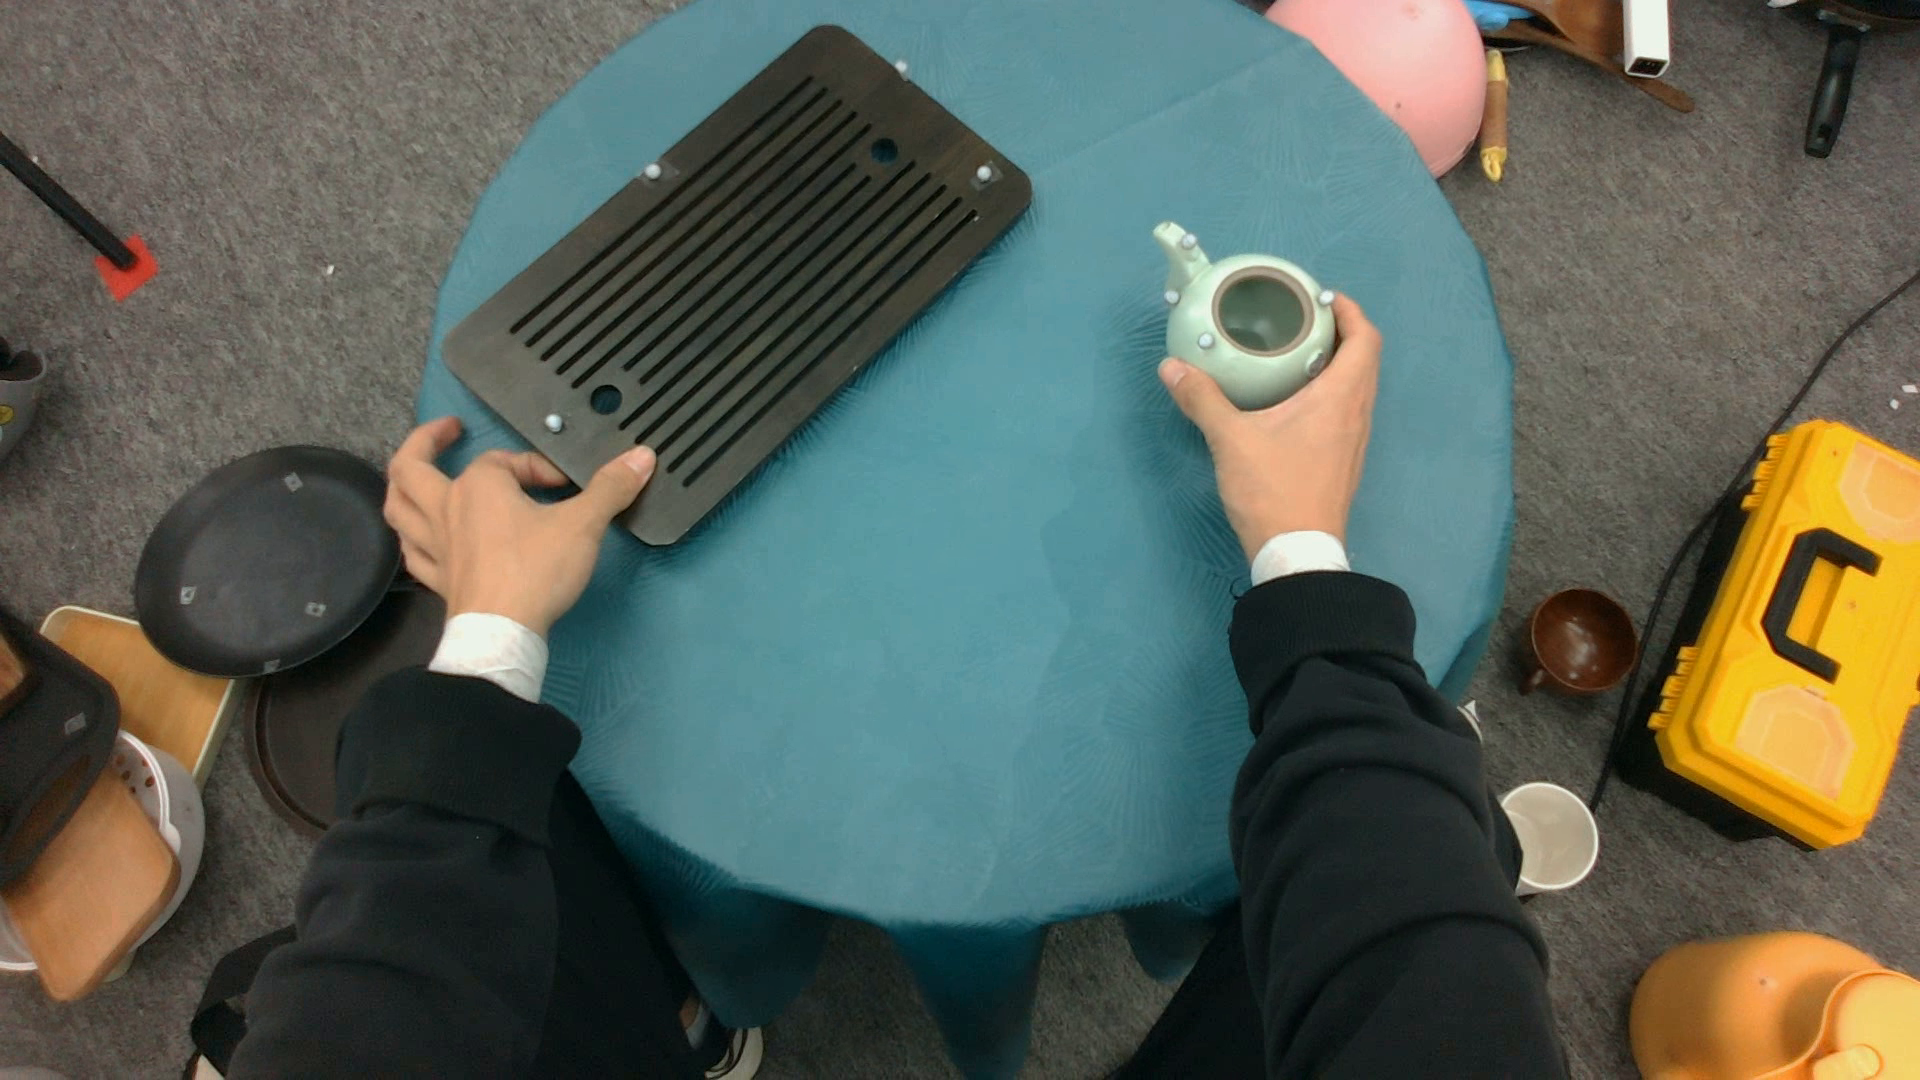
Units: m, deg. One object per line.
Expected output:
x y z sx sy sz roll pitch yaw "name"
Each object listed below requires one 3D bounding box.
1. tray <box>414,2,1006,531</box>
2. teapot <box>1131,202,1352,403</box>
-0.130 -0.158 0.756 0.170 0.018 0.307 40 72 8 "tray"
0.143 -0.118 0.733 0.144 0.074 0.088 43 75 13 "teapot"
